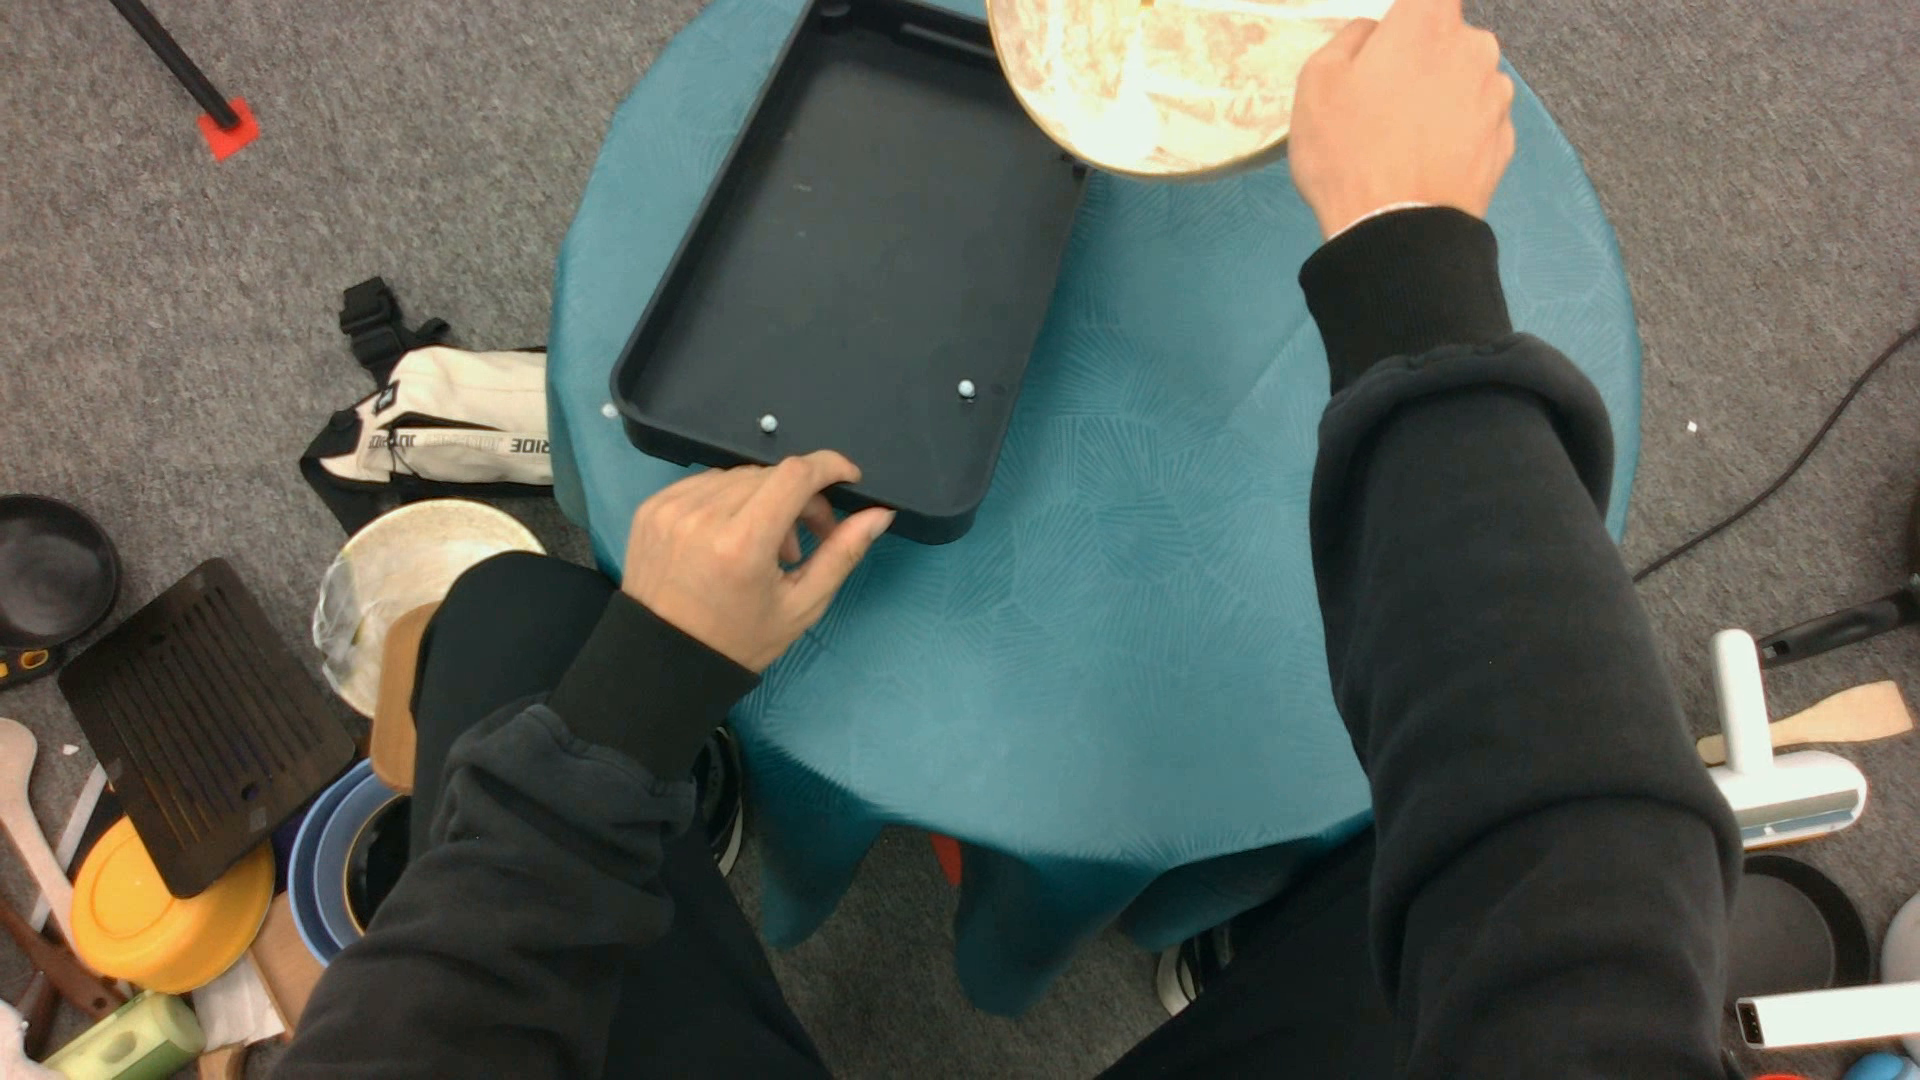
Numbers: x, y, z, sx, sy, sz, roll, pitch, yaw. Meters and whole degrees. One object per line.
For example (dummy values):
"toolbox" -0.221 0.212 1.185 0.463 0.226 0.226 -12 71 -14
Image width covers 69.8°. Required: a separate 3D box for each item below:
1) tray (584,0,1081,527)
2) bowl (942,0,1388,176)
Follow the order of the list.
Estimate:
"tray" -0.047 -0.166 0.713 0.184 0.037 0.319 19 61 1
"bowl" 0.107 -0.261 0.633 0.214 0.095 0.214 1 92 27
